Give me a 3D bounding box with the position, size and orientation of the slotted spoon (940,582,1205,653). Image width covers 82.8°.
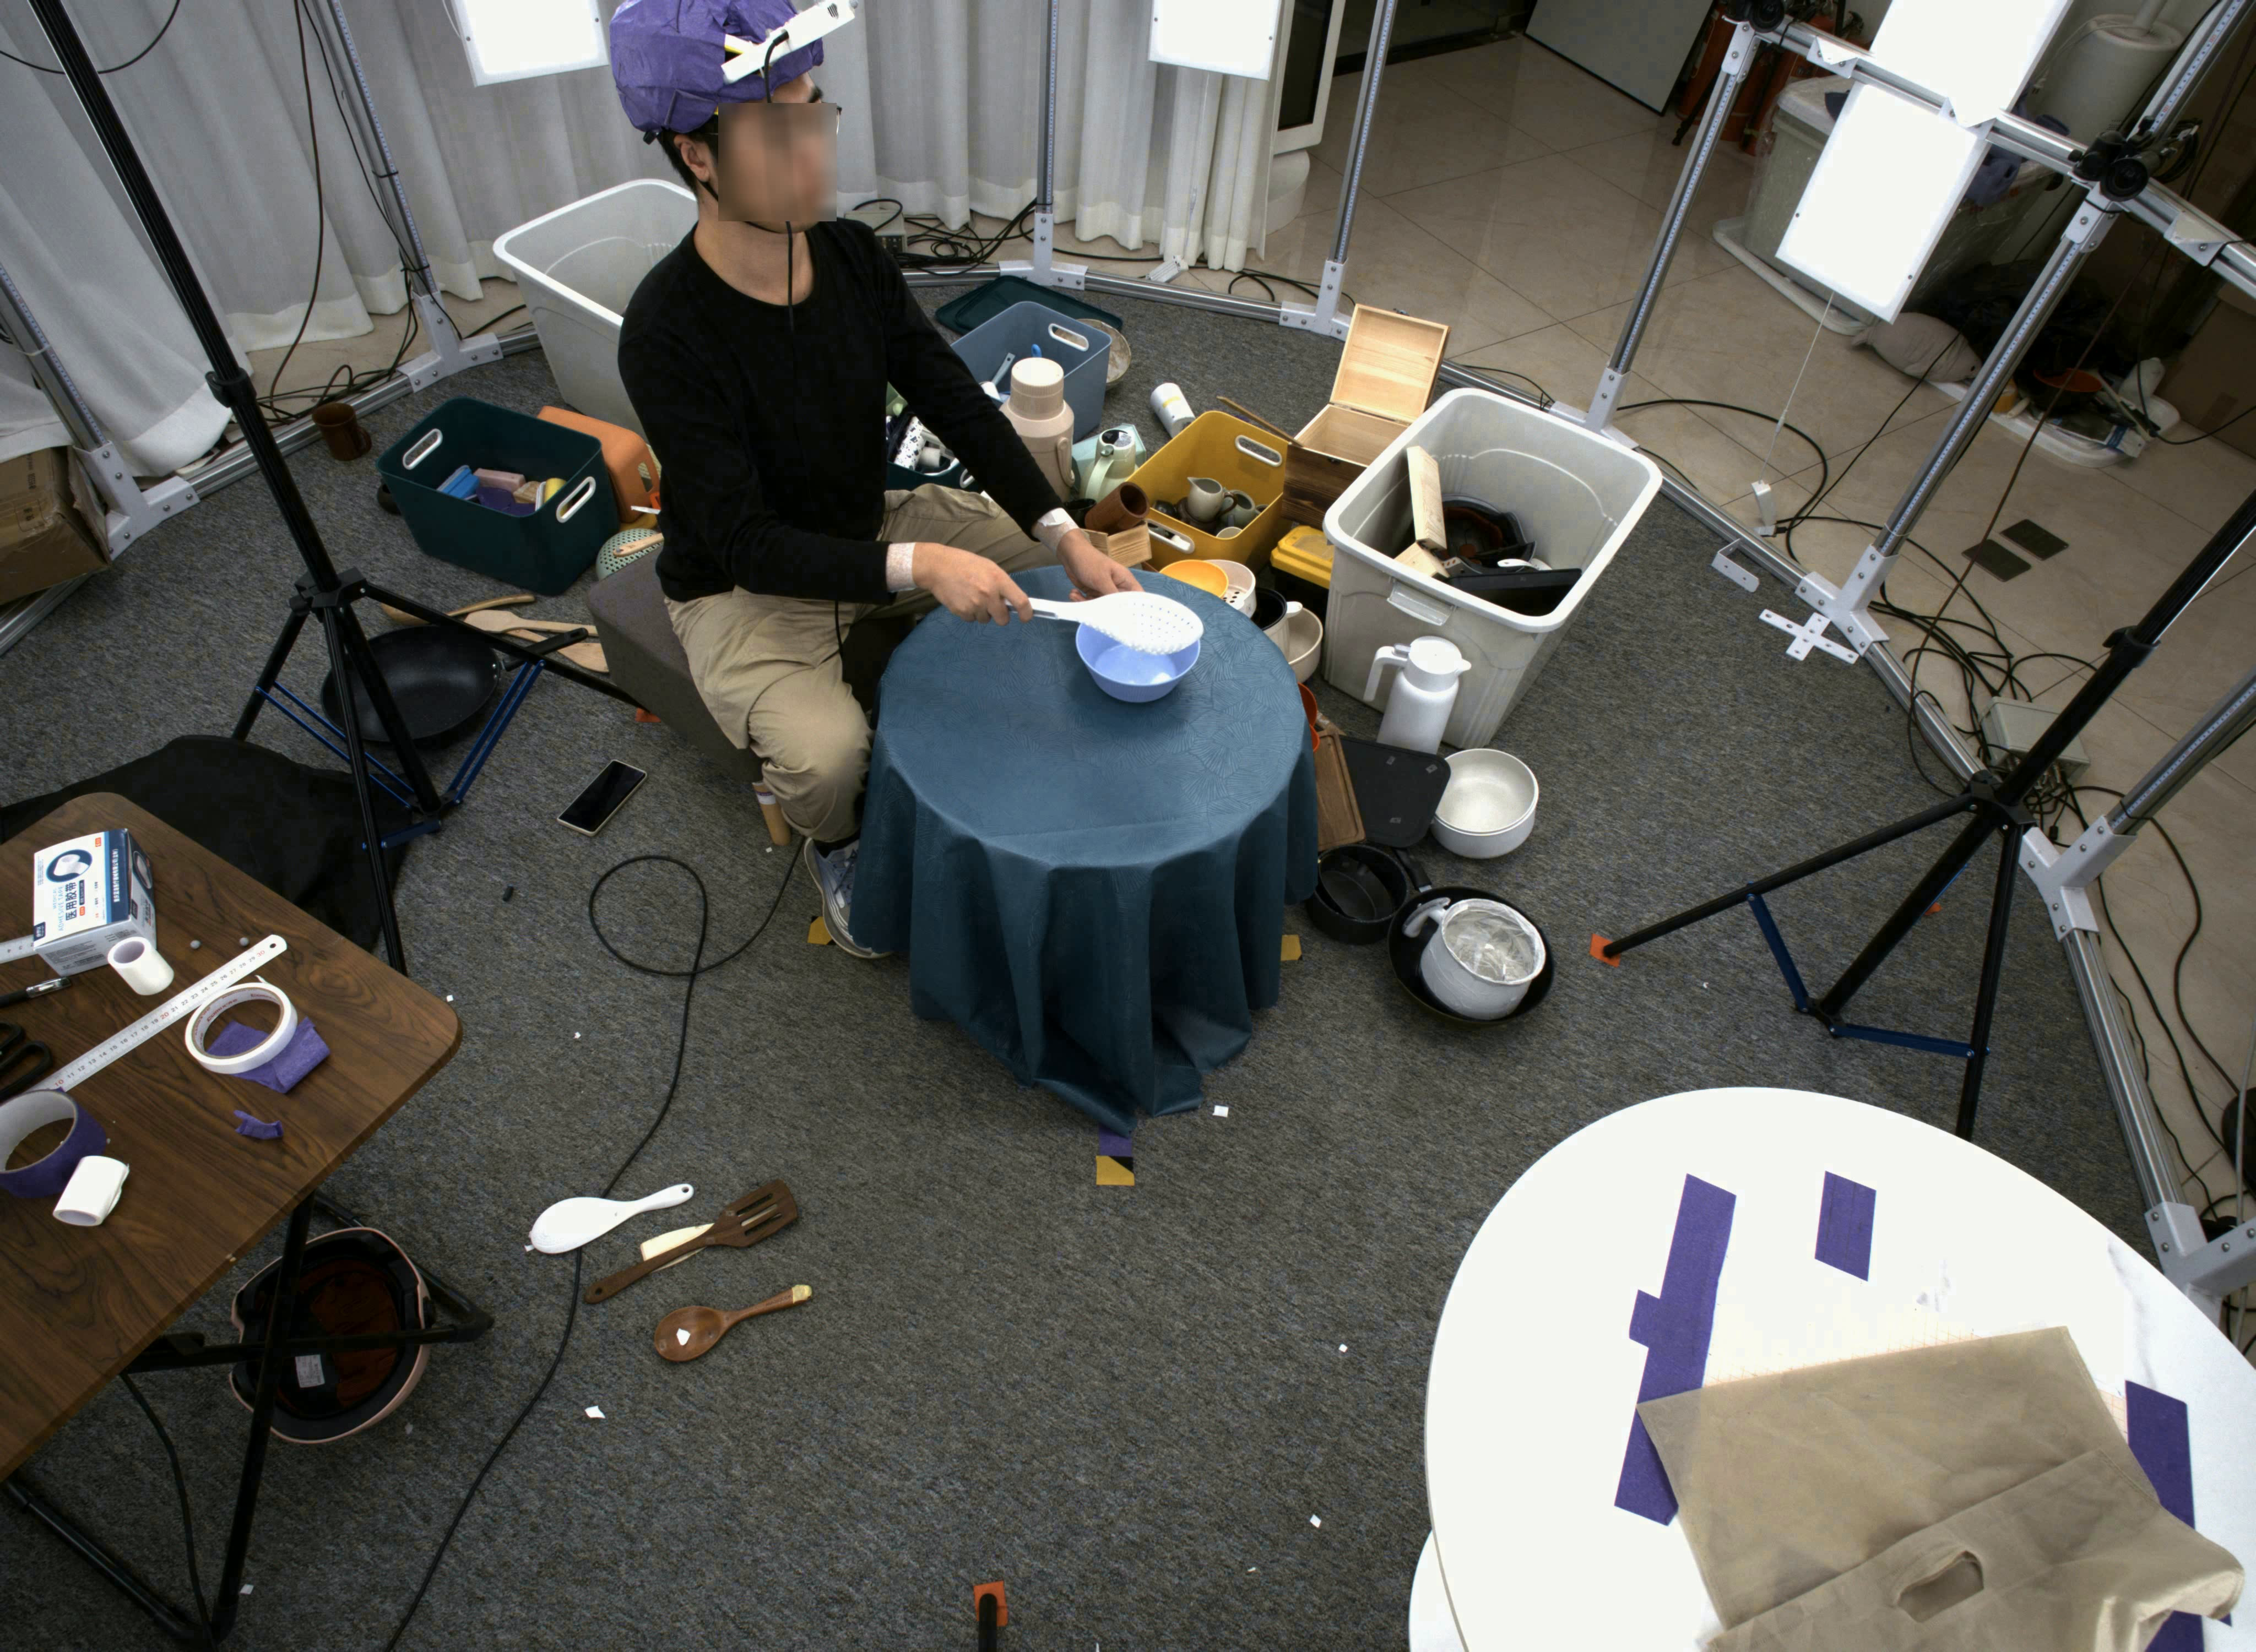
[{"bbox_3d":[-0.075,-0.278,1.653,0.351,0.133,0.046,15,70,14],"label":"slotted spoon"}]

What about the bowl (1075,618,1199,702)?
[{"bbox_3d":[0.012,-0.241,1.834,0.176,0.068,0.180,1,49,-2],"label":"bowl"}]
